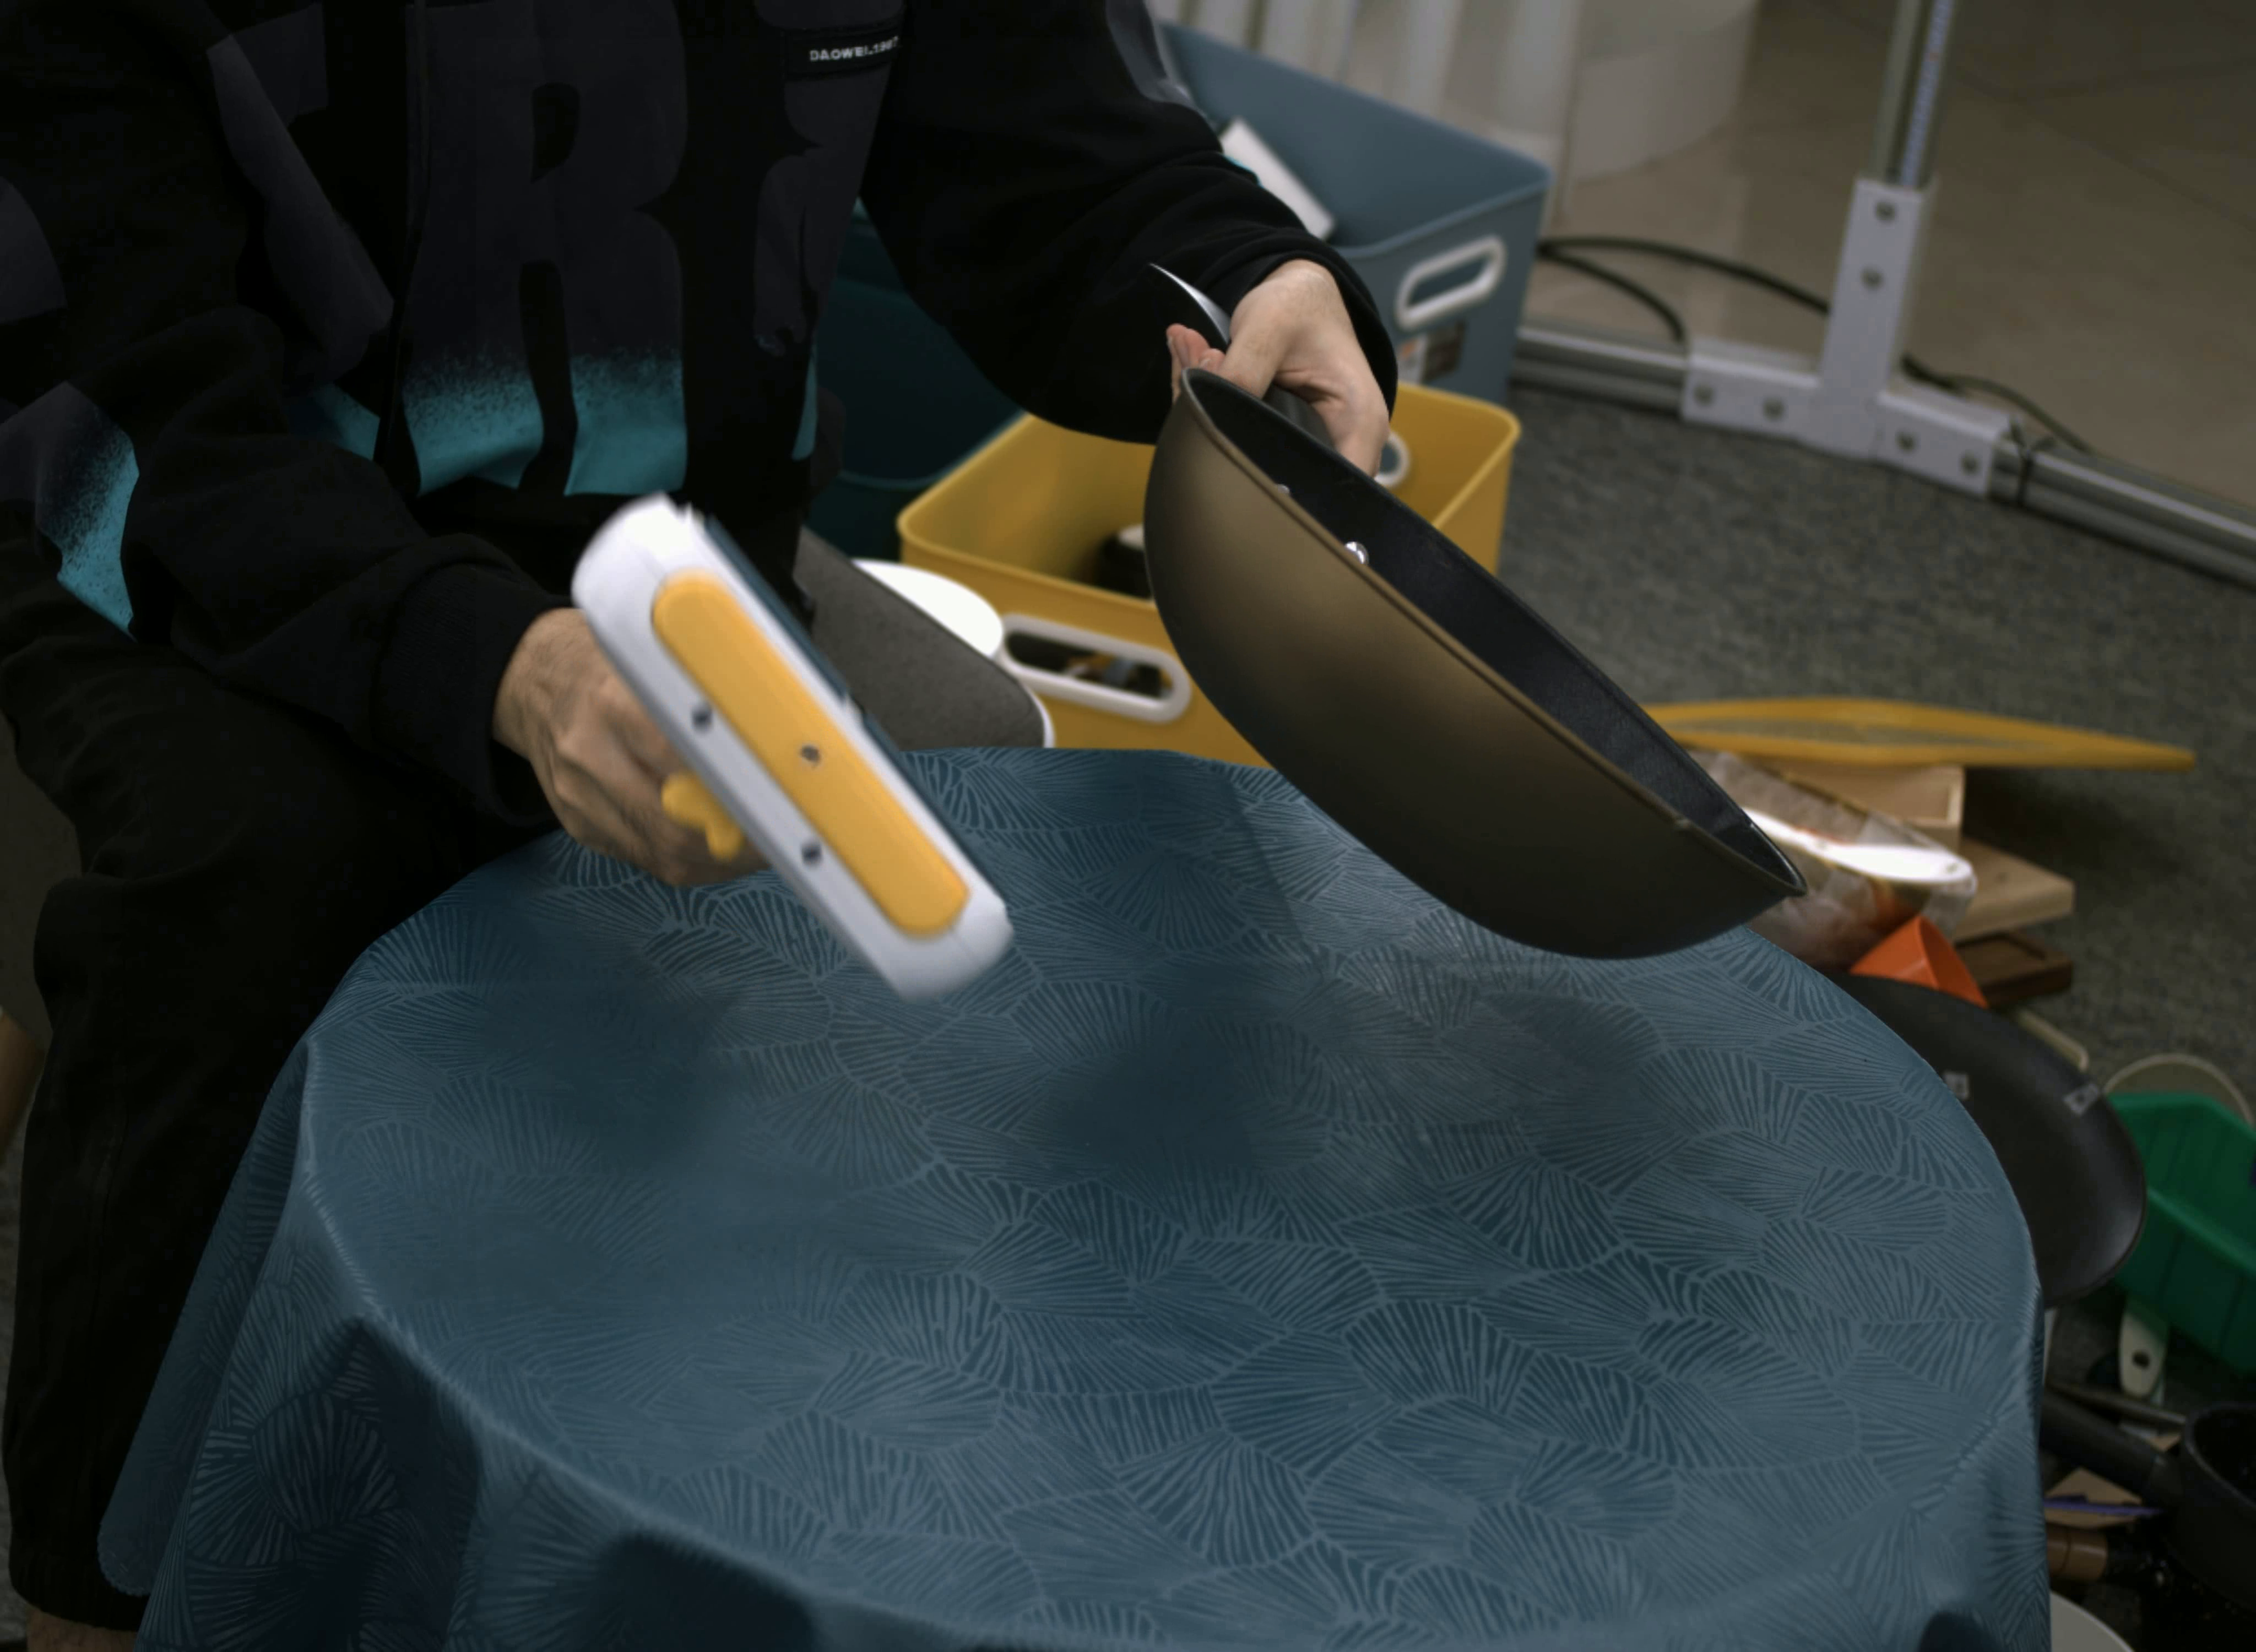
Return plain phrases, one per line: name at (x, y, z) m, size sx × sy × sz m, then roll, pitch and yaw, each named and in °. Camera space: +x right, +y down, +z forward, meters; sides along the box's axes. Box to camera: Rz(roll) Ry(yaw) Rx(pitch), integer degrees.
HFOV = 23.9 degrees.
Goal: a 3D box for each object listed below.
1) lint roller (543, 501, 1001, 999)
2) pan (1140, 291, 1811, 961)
lint roller at (-0.133, -0.019, 1.809) m, size 0.192 × 0.074 × 0.193 m, roll 45°, pitch -8°, yaw -8°
pan at (0.072, -0.081, 1.913) m, size 0.285 × 0.087 × 0.467 m, roll 34°, pitch 10°, yaw -33°
